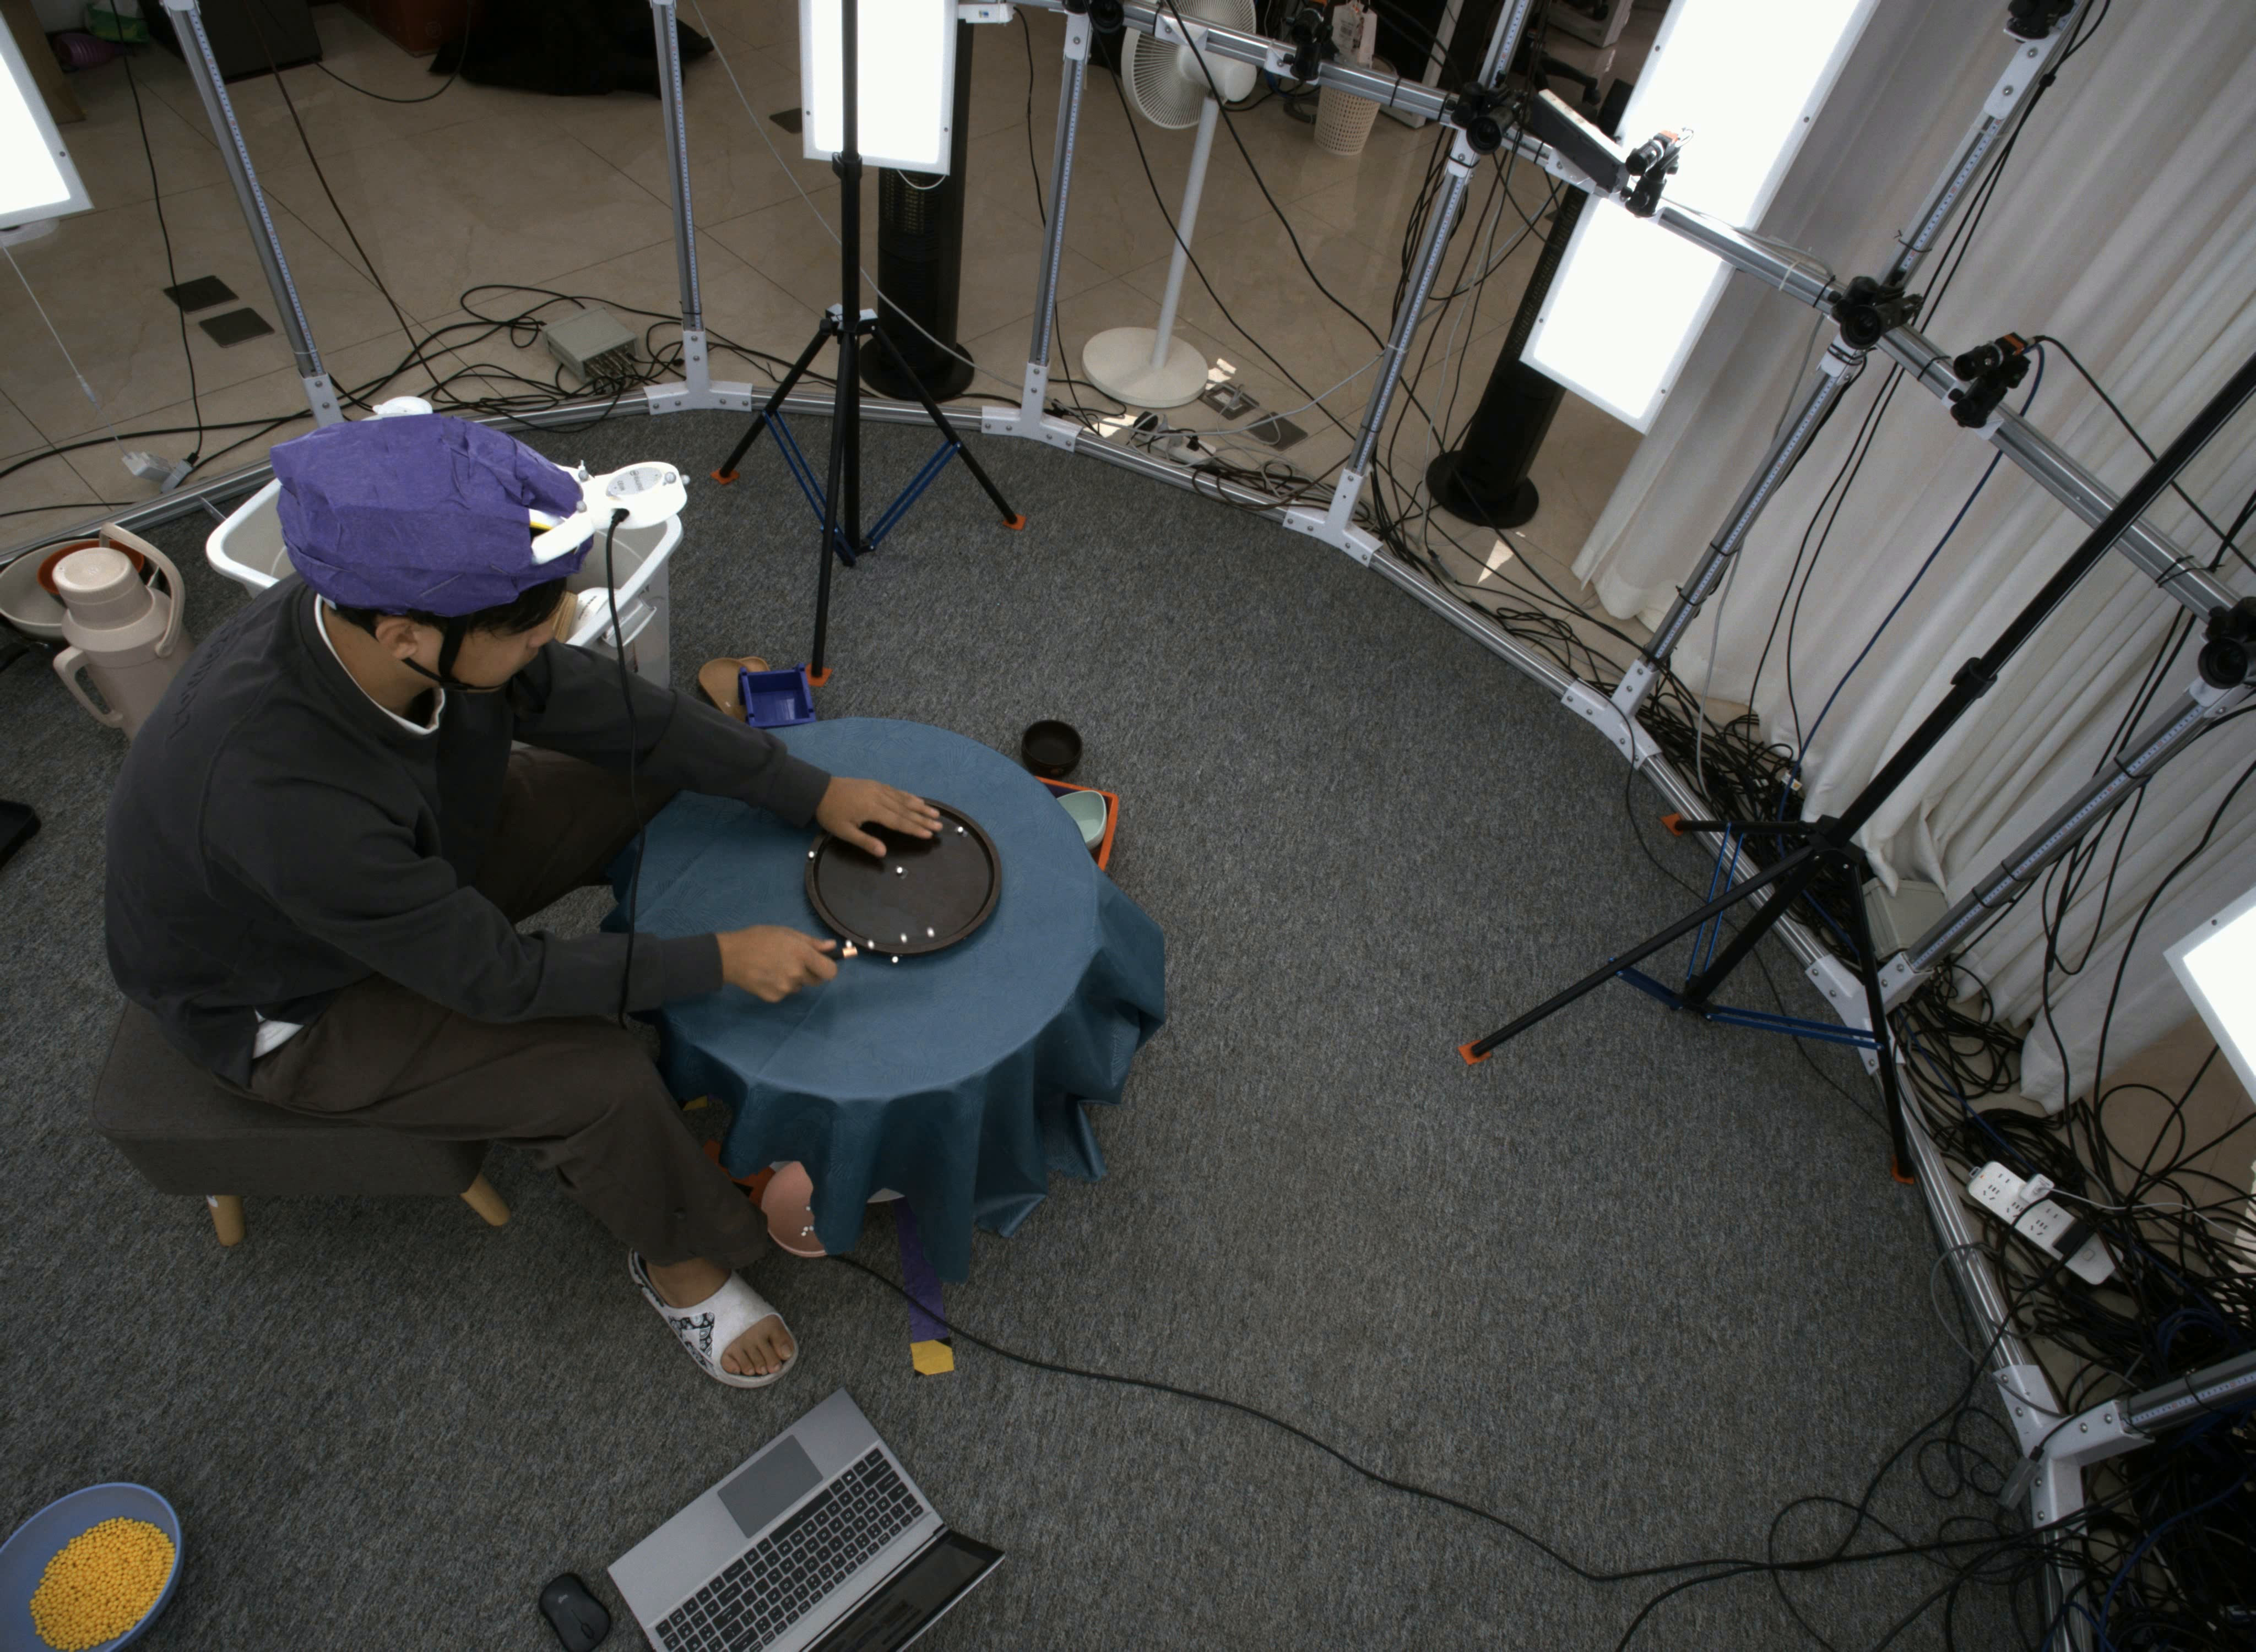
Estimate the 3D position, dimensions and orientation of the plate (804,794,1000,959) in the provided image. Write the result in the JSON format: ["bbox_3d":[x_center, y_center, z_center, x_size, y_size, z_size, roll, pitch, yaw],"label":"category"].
[{"bbox_3d":[-0.292,0.063,1.691,0.254,0.029,0.250,7,54,-8],"label":"plate"}]

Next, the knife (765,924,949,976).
[{"bbox_3d":[-0.324,0.145,1.566,0.225,0.026,0.017,-13,90,-15],"label":"knife"}]
